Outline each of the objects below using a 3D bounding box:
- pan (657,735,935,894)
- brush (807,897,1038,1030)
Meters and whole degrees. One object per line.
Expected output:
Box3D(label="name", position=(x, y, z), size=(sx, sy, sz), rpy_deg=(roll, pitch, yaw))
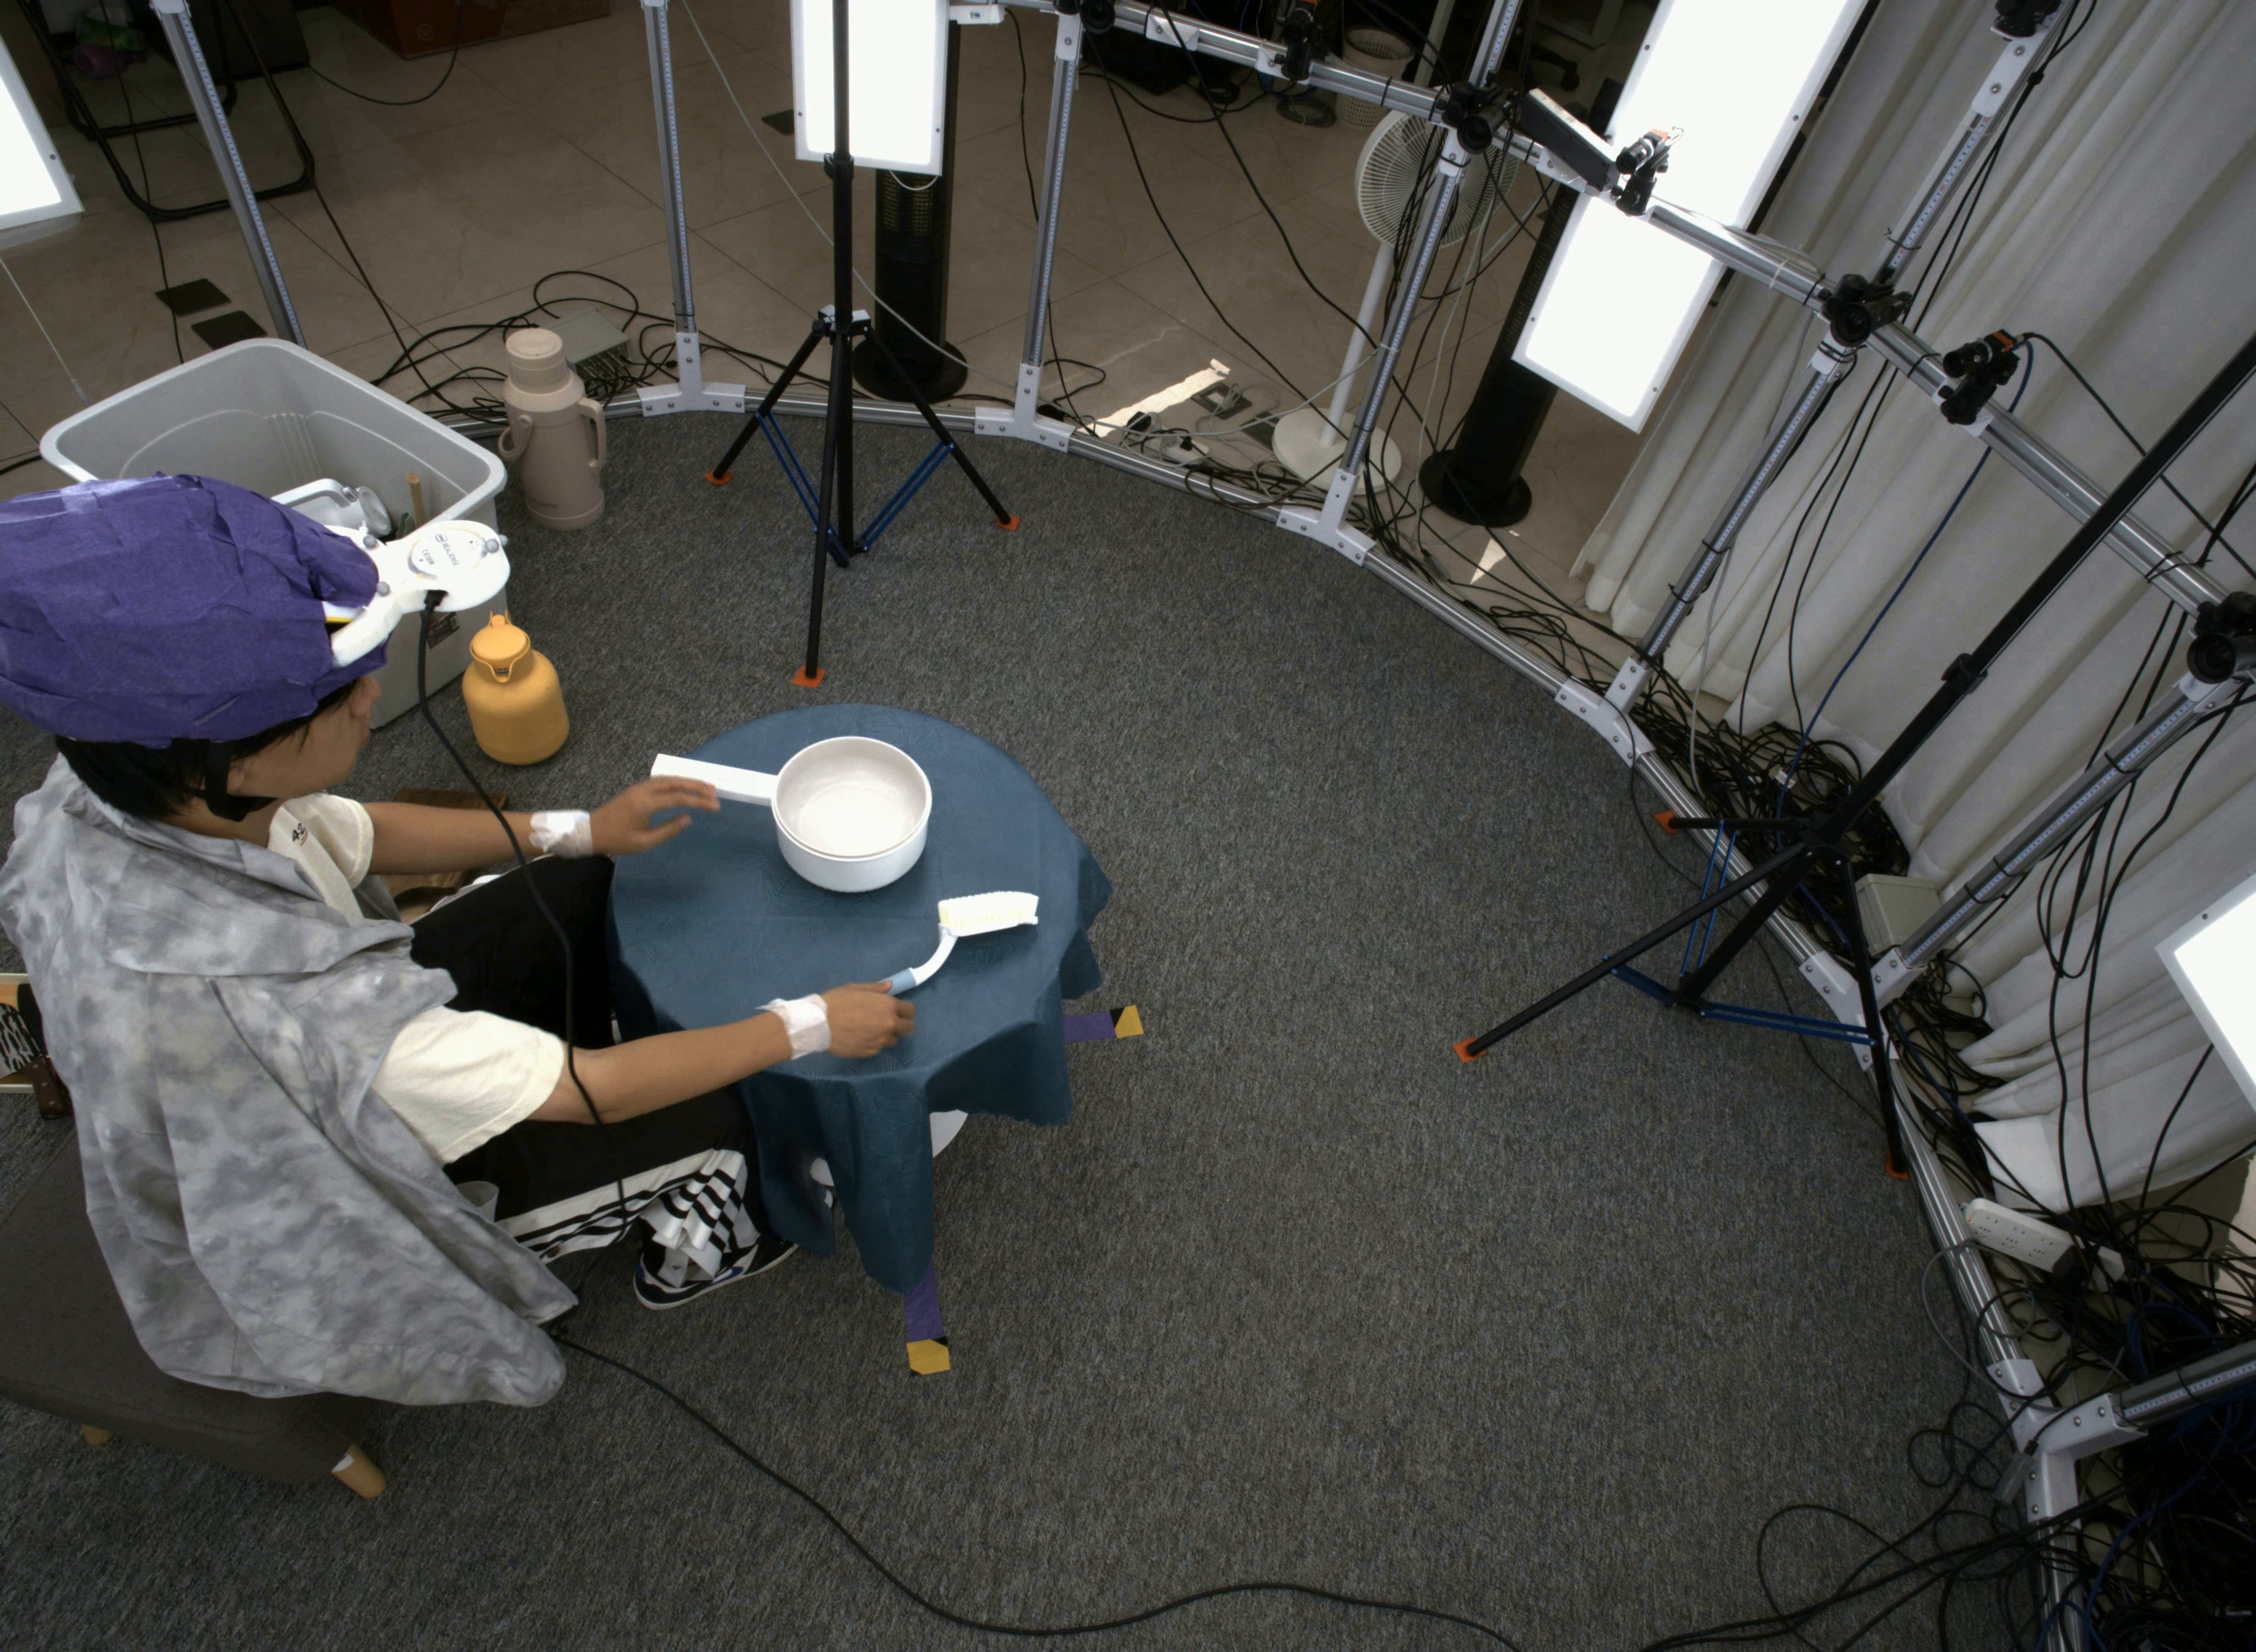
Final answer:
Box3D(label="pan", position=(-0.427, -0.024, 1.678), size=(0.353, 0.104, 0.198), rpy_deg=(10, 52, -6))
Box3D(label="brush", position=(-0.253, 0.145, 1.607), size=(0.327, 0.084, 0.083), rpy_deg=(-22, 67, -28))
